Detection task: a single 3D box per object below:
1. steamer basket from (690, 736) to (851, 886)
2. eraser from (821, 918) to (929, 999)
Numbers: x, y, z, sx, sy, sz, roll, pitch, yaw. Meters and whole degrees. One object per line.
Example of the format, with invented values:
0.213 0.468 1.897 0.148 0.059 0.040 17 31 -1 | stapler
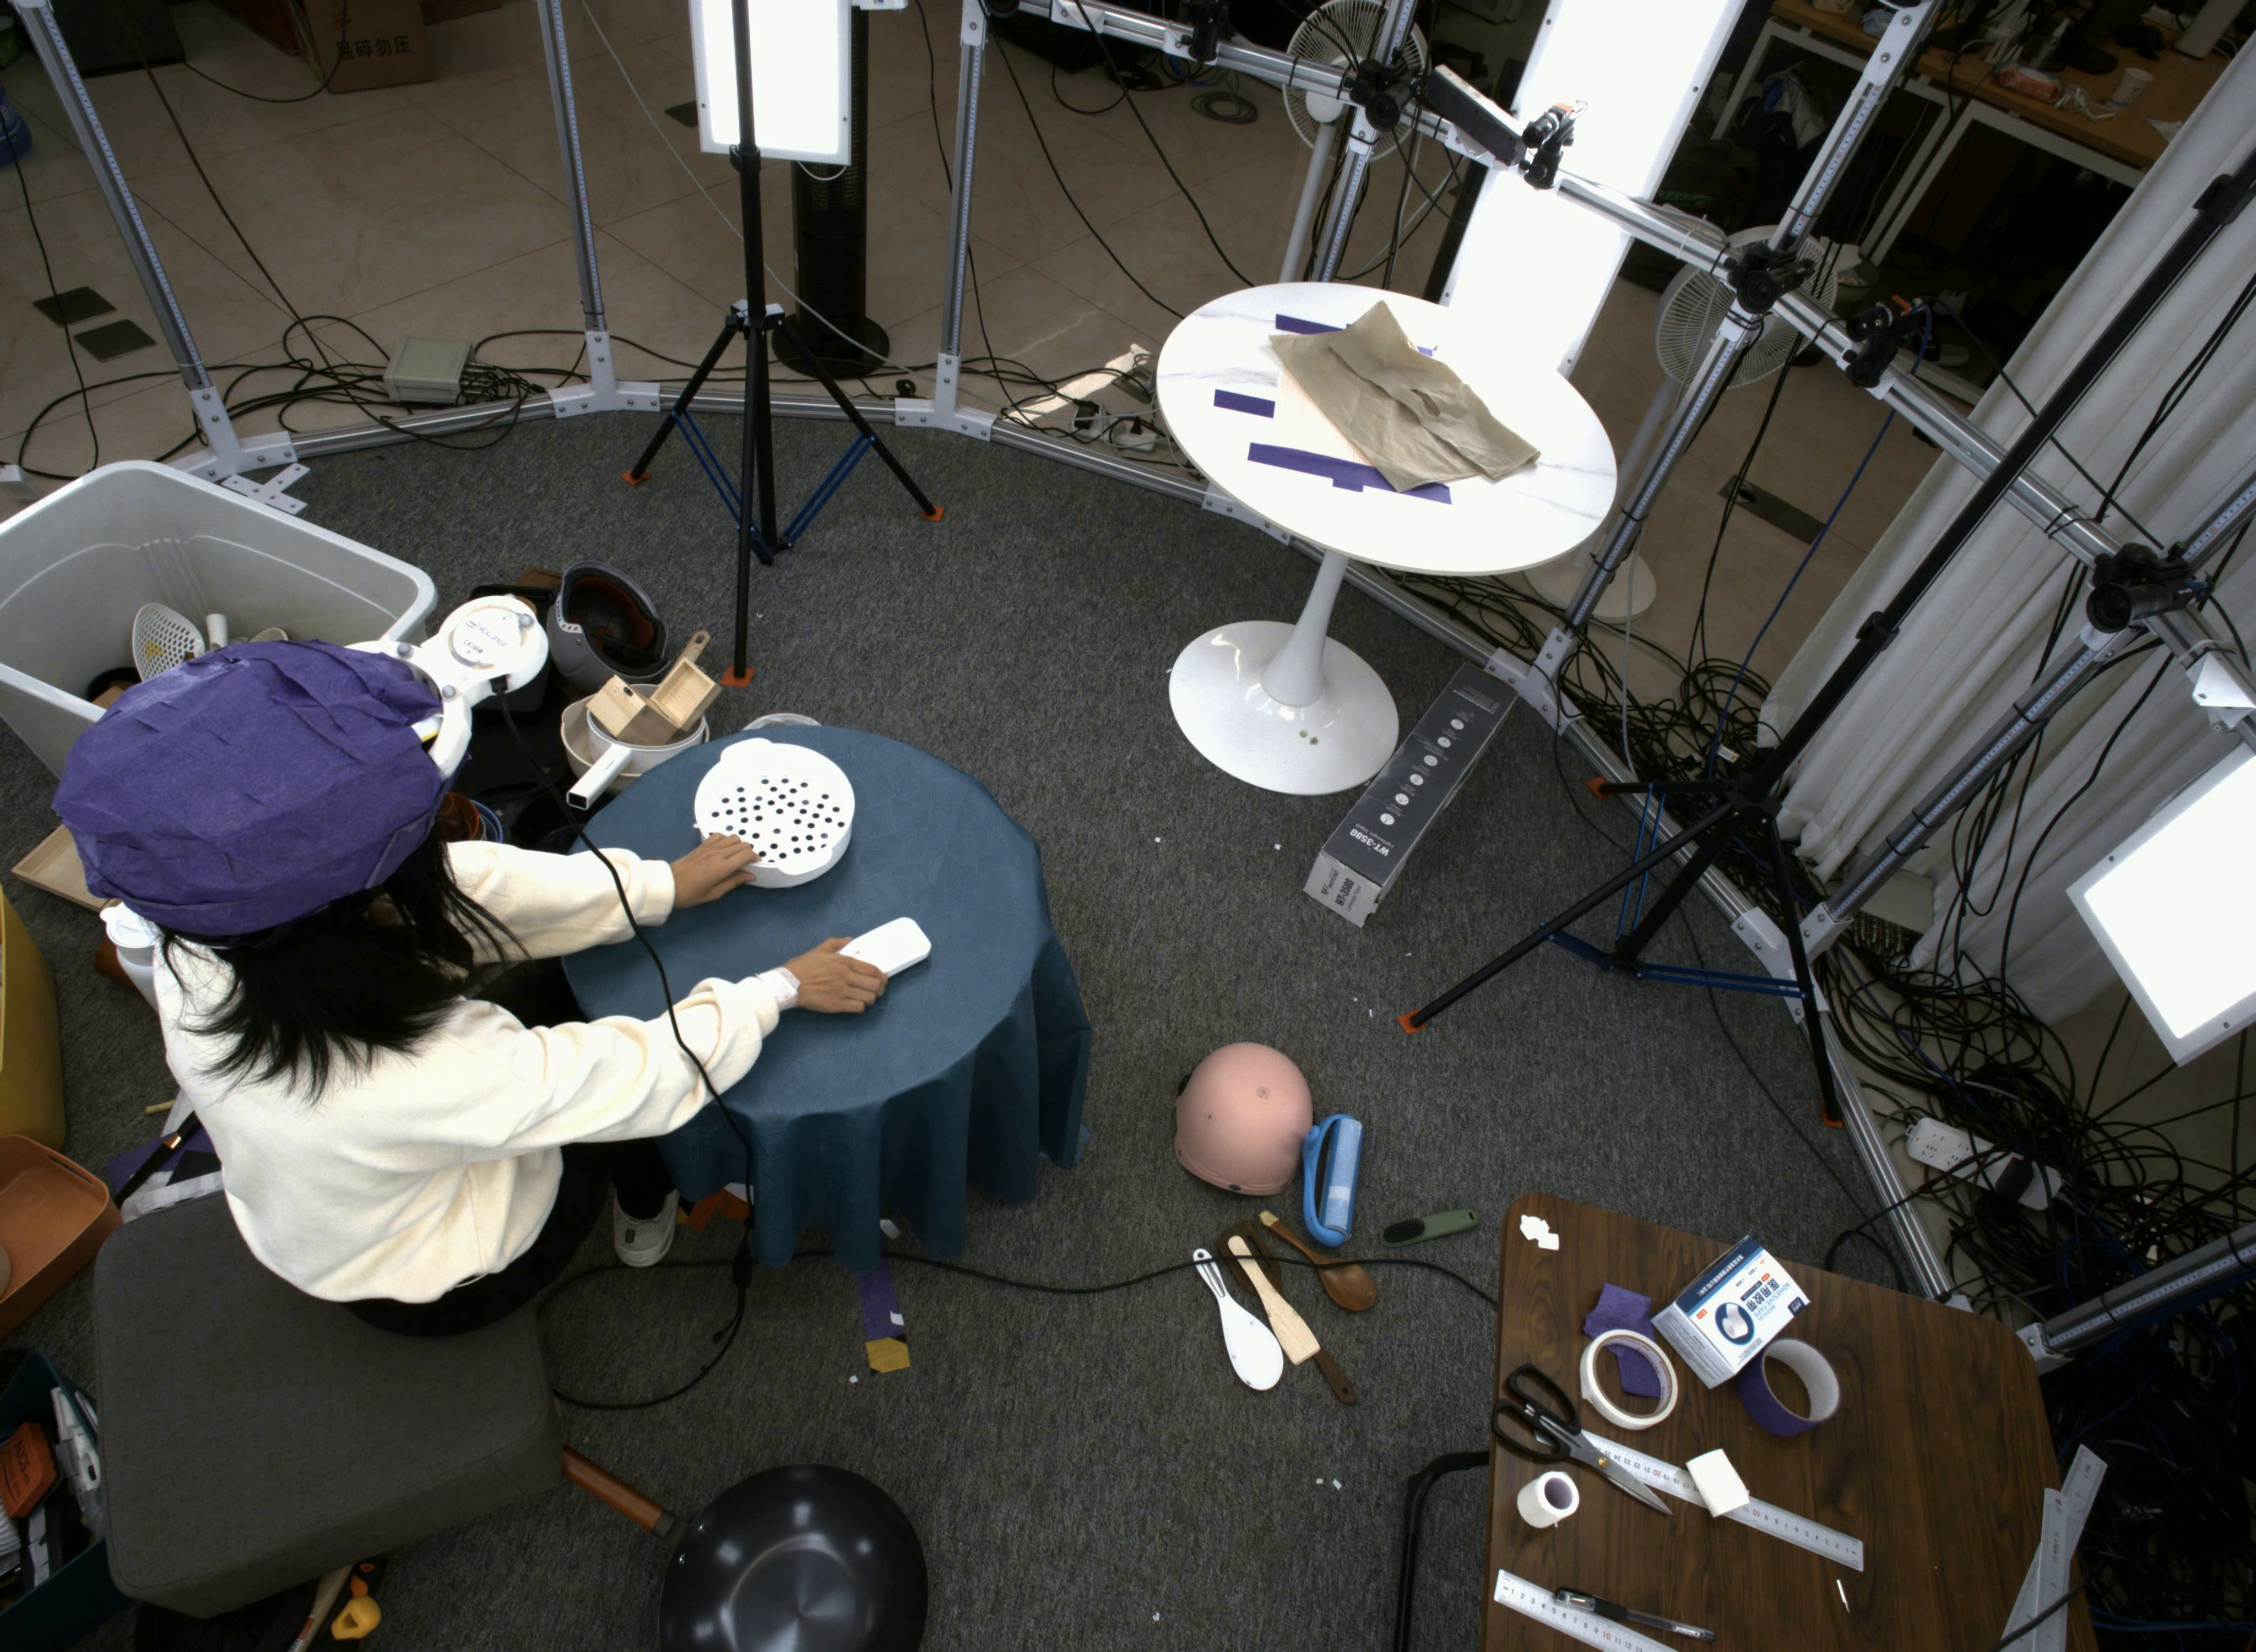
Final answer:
-0.461 -0.017 1.678 0.203 0.071 0.224 -23 60 -27 | steamer basket
-0.312 0.159 1.606 0.132 0.035 0.062 -25 62 -32 | eraser
